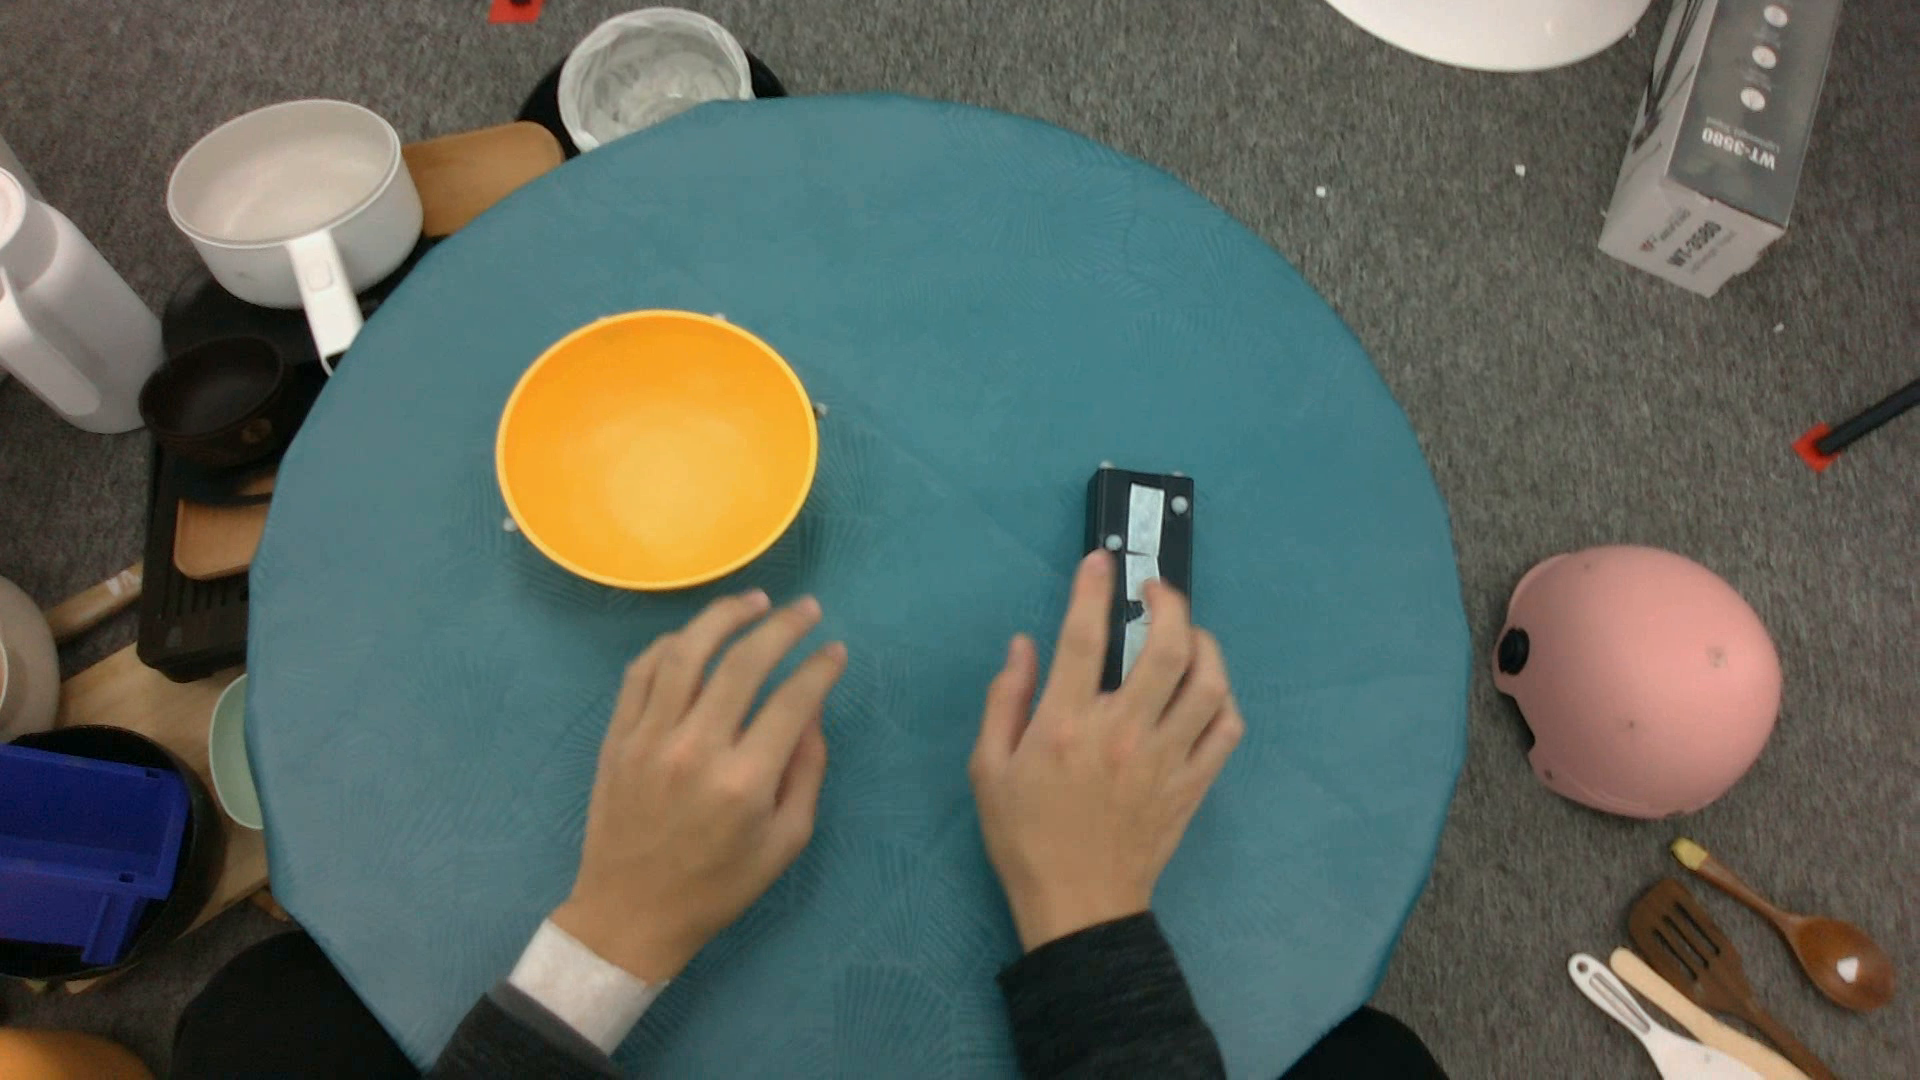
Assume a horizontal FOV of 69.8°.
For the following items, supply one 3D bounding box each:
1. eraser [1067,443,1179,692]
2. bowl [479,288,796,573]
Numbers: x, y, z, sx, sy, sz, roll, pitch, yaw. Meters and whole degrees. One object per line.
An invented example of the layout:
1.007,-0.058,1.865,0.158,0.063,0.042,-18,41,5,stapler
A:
0.079,0.012,0.683,0.053,0.030,0.126,3,69,-2,eraser
-0.150,-0.044,0.661,0.145,0.060,0.146,1,70,-4,bowl
